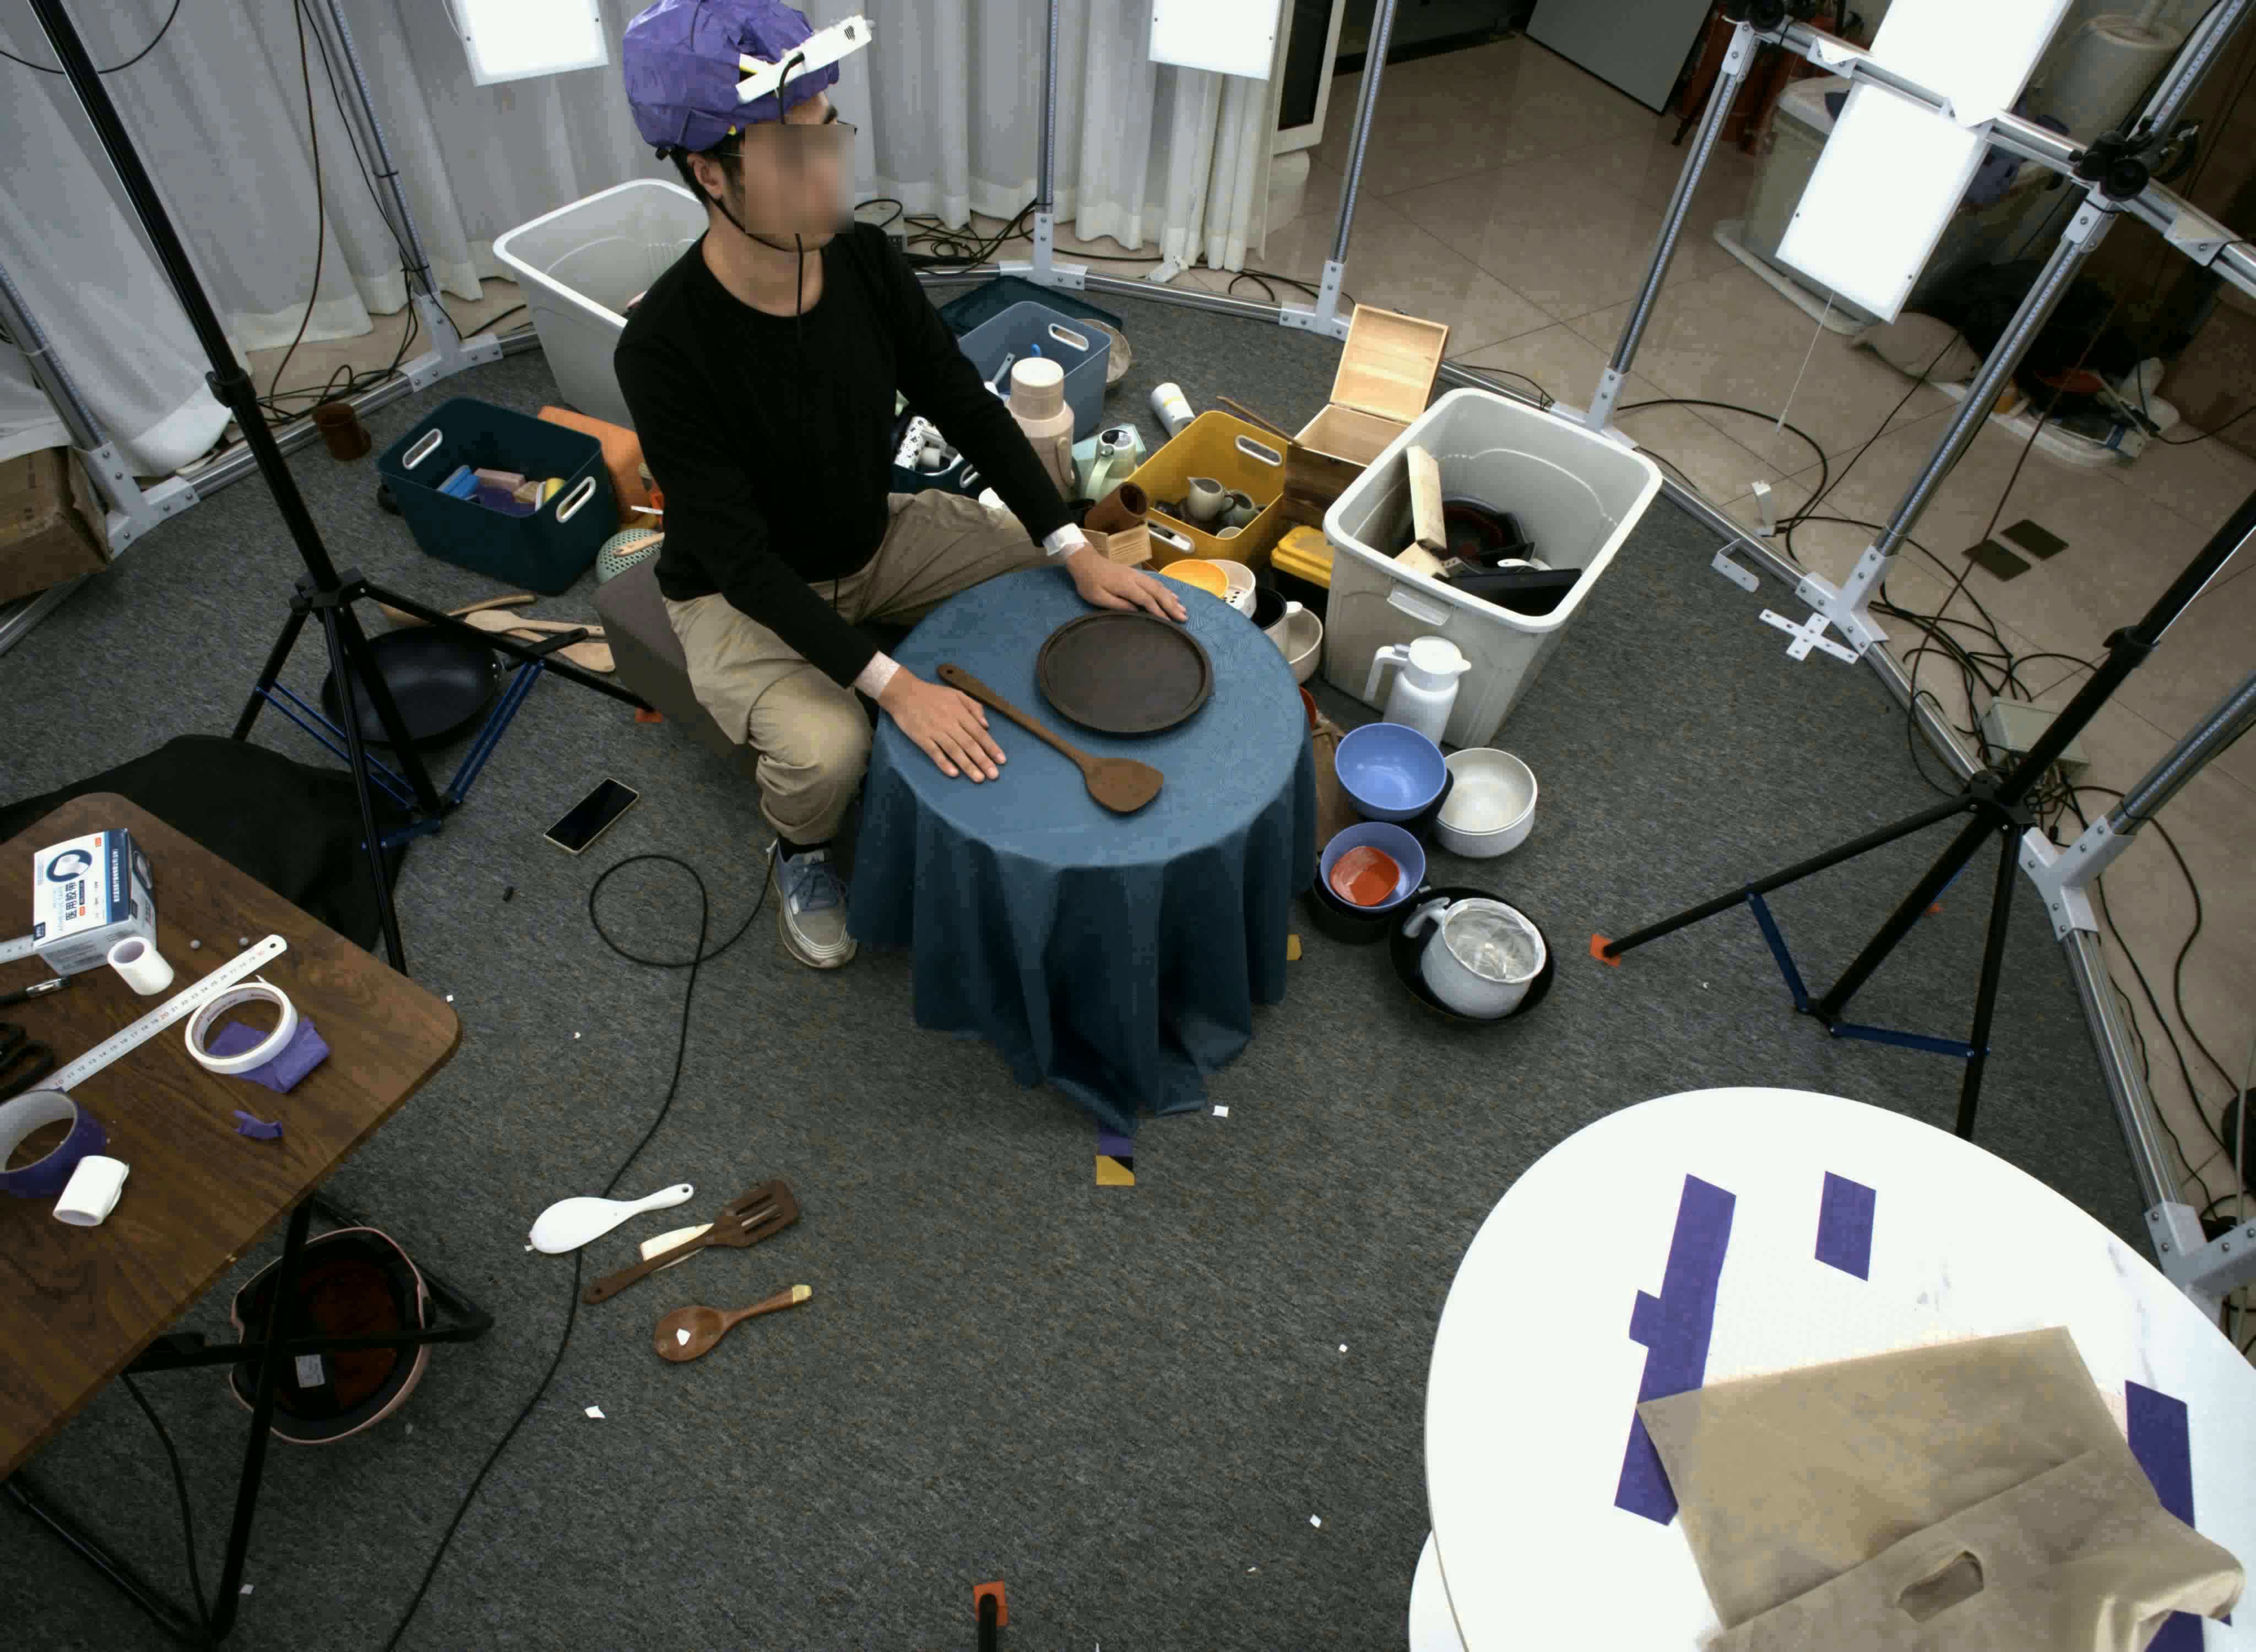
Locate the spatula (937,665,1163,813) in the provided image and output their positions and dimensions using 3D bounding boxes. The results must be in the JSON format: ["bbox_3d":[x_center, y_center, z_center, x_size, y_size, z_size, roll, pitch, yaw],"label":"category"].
[{"bbox_3d":[-0.121,-0.131,1.766,0.391,0.015,0.097,33,54,23],"label":"spatula"}]

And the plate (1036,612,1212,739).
[{"bbox_3d":[-0.006,-0.218,1.845,0.254,0.028,0.261,2,50,-3],"label":"plate"}]
